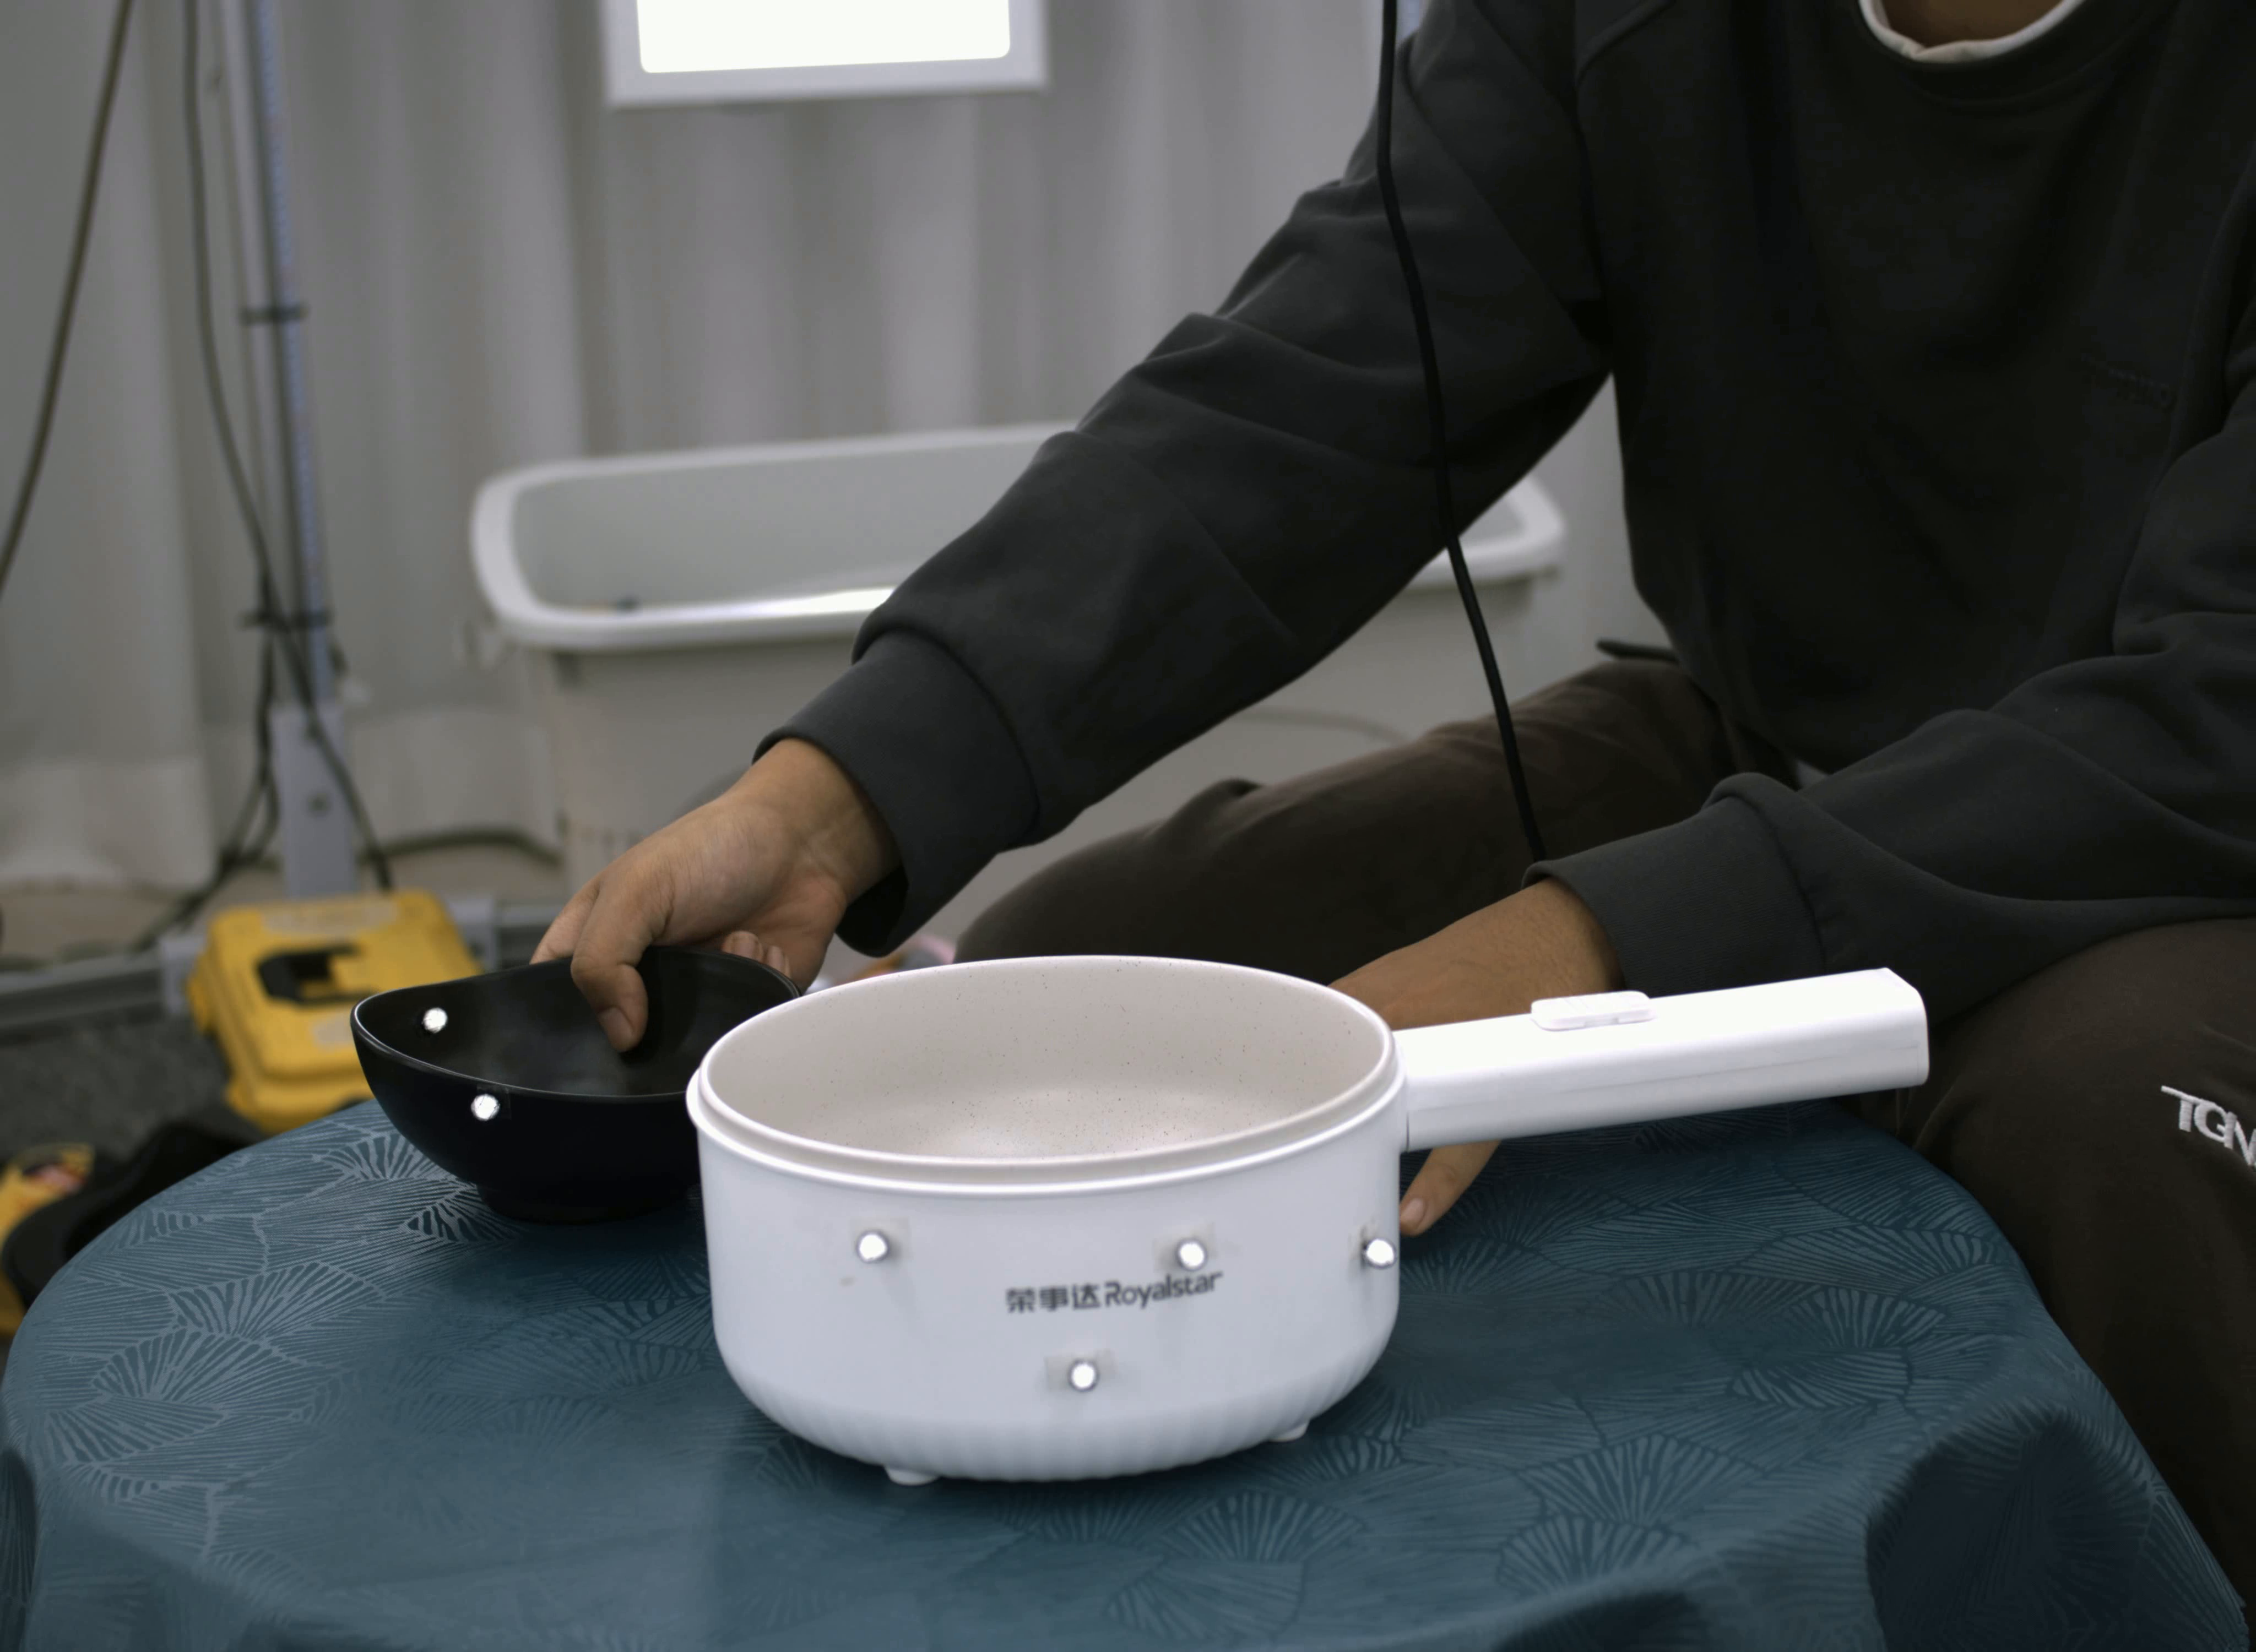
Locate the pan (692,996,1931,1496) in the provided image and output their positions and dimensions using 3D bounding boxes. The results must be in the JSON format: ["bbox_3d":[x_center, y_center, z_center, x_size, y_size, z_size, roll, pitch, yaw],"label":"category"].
[{"bbox_3d":[0.054,0.114,1.553,0.353,0.102,0.202,-4,11,-12],"label":"pan"}]

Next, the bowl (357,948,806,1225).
[{"bbox_3d":[-0.173,0.086,1.729,0.137,0.066,0.171,-11,17,-28],"label":"bowl"}]
